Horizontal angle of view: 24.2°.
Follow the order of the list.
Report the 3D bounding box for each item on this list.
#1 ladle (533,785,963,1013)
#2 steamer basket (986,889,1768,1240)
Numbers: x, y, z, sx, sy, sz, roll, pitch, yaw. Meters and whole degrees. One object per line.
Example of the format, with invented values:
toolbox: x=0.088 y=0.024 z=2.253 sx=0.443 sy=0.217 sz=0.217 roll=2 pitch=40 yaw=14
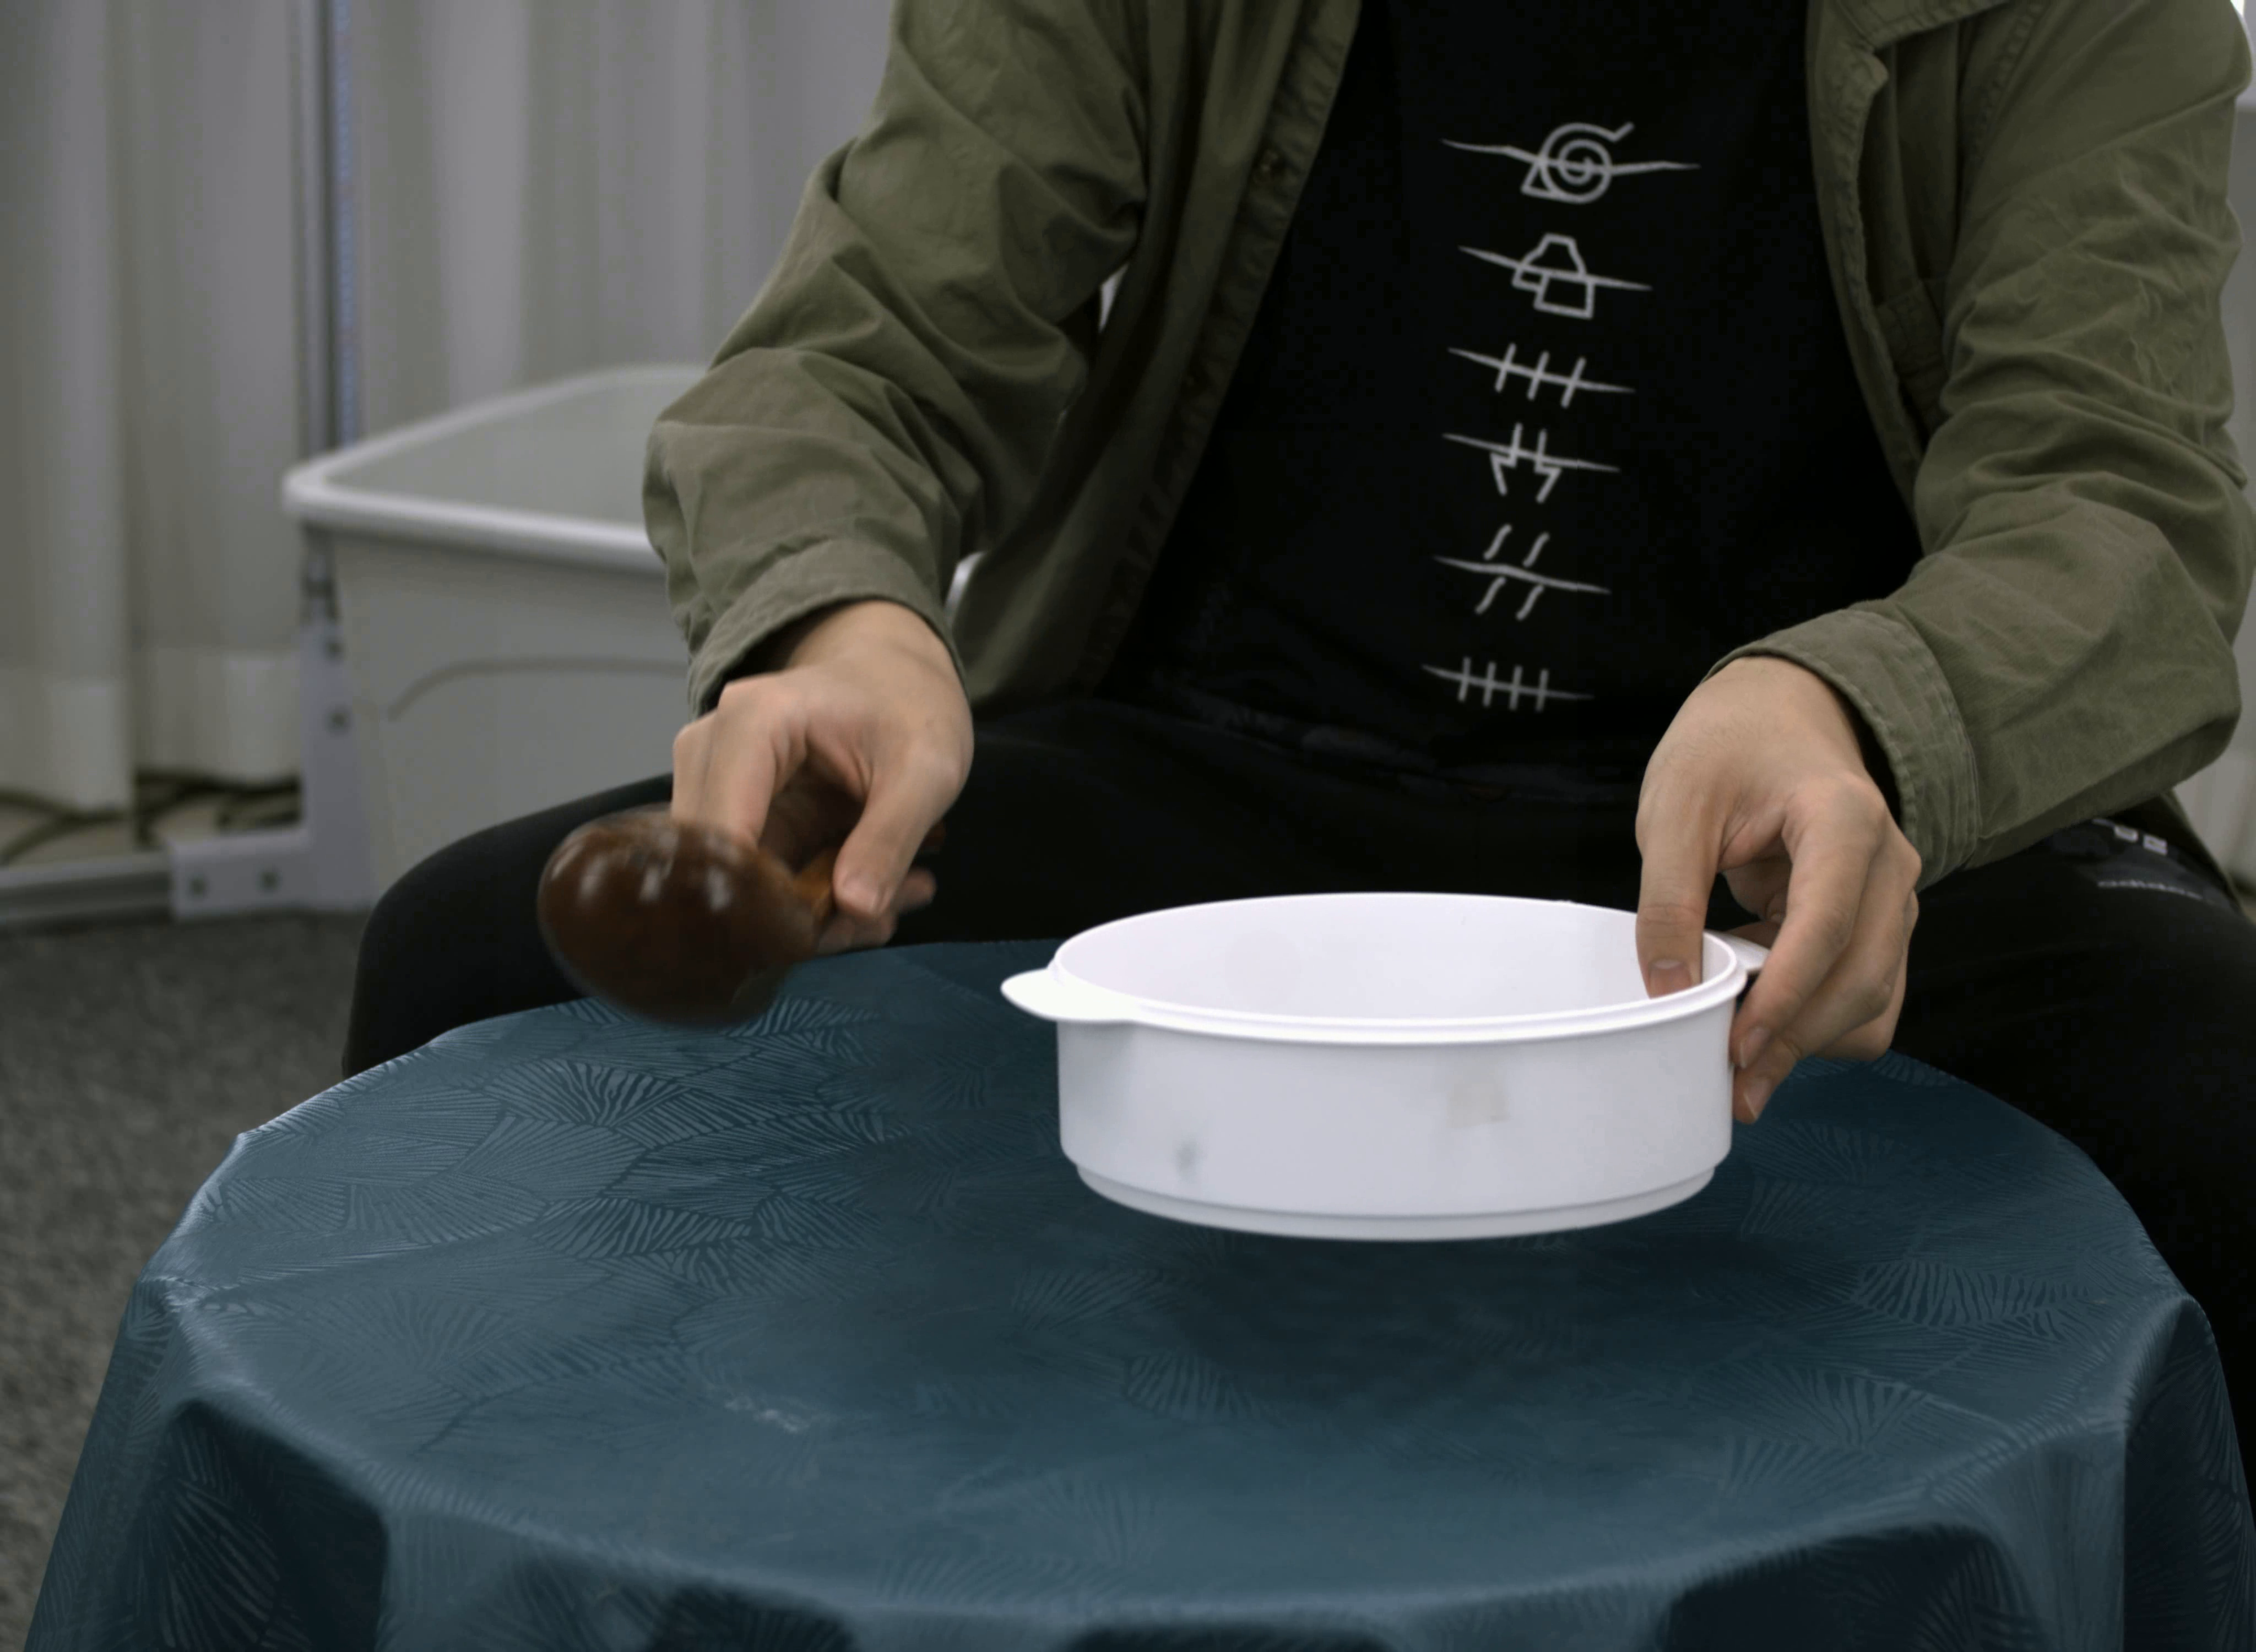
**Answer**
ladle: x=-0.102 y=0.000 z=1.582 sx=0.081 sy=0.077 sz=0.274 roll=7 pitch=14 yaw=14
steamer basket: x=0.072 y=0.069 z=1.518 sx=0.231 sy=0.069 sz=0.200 roll=-3 pitch=10 yaw=-19
